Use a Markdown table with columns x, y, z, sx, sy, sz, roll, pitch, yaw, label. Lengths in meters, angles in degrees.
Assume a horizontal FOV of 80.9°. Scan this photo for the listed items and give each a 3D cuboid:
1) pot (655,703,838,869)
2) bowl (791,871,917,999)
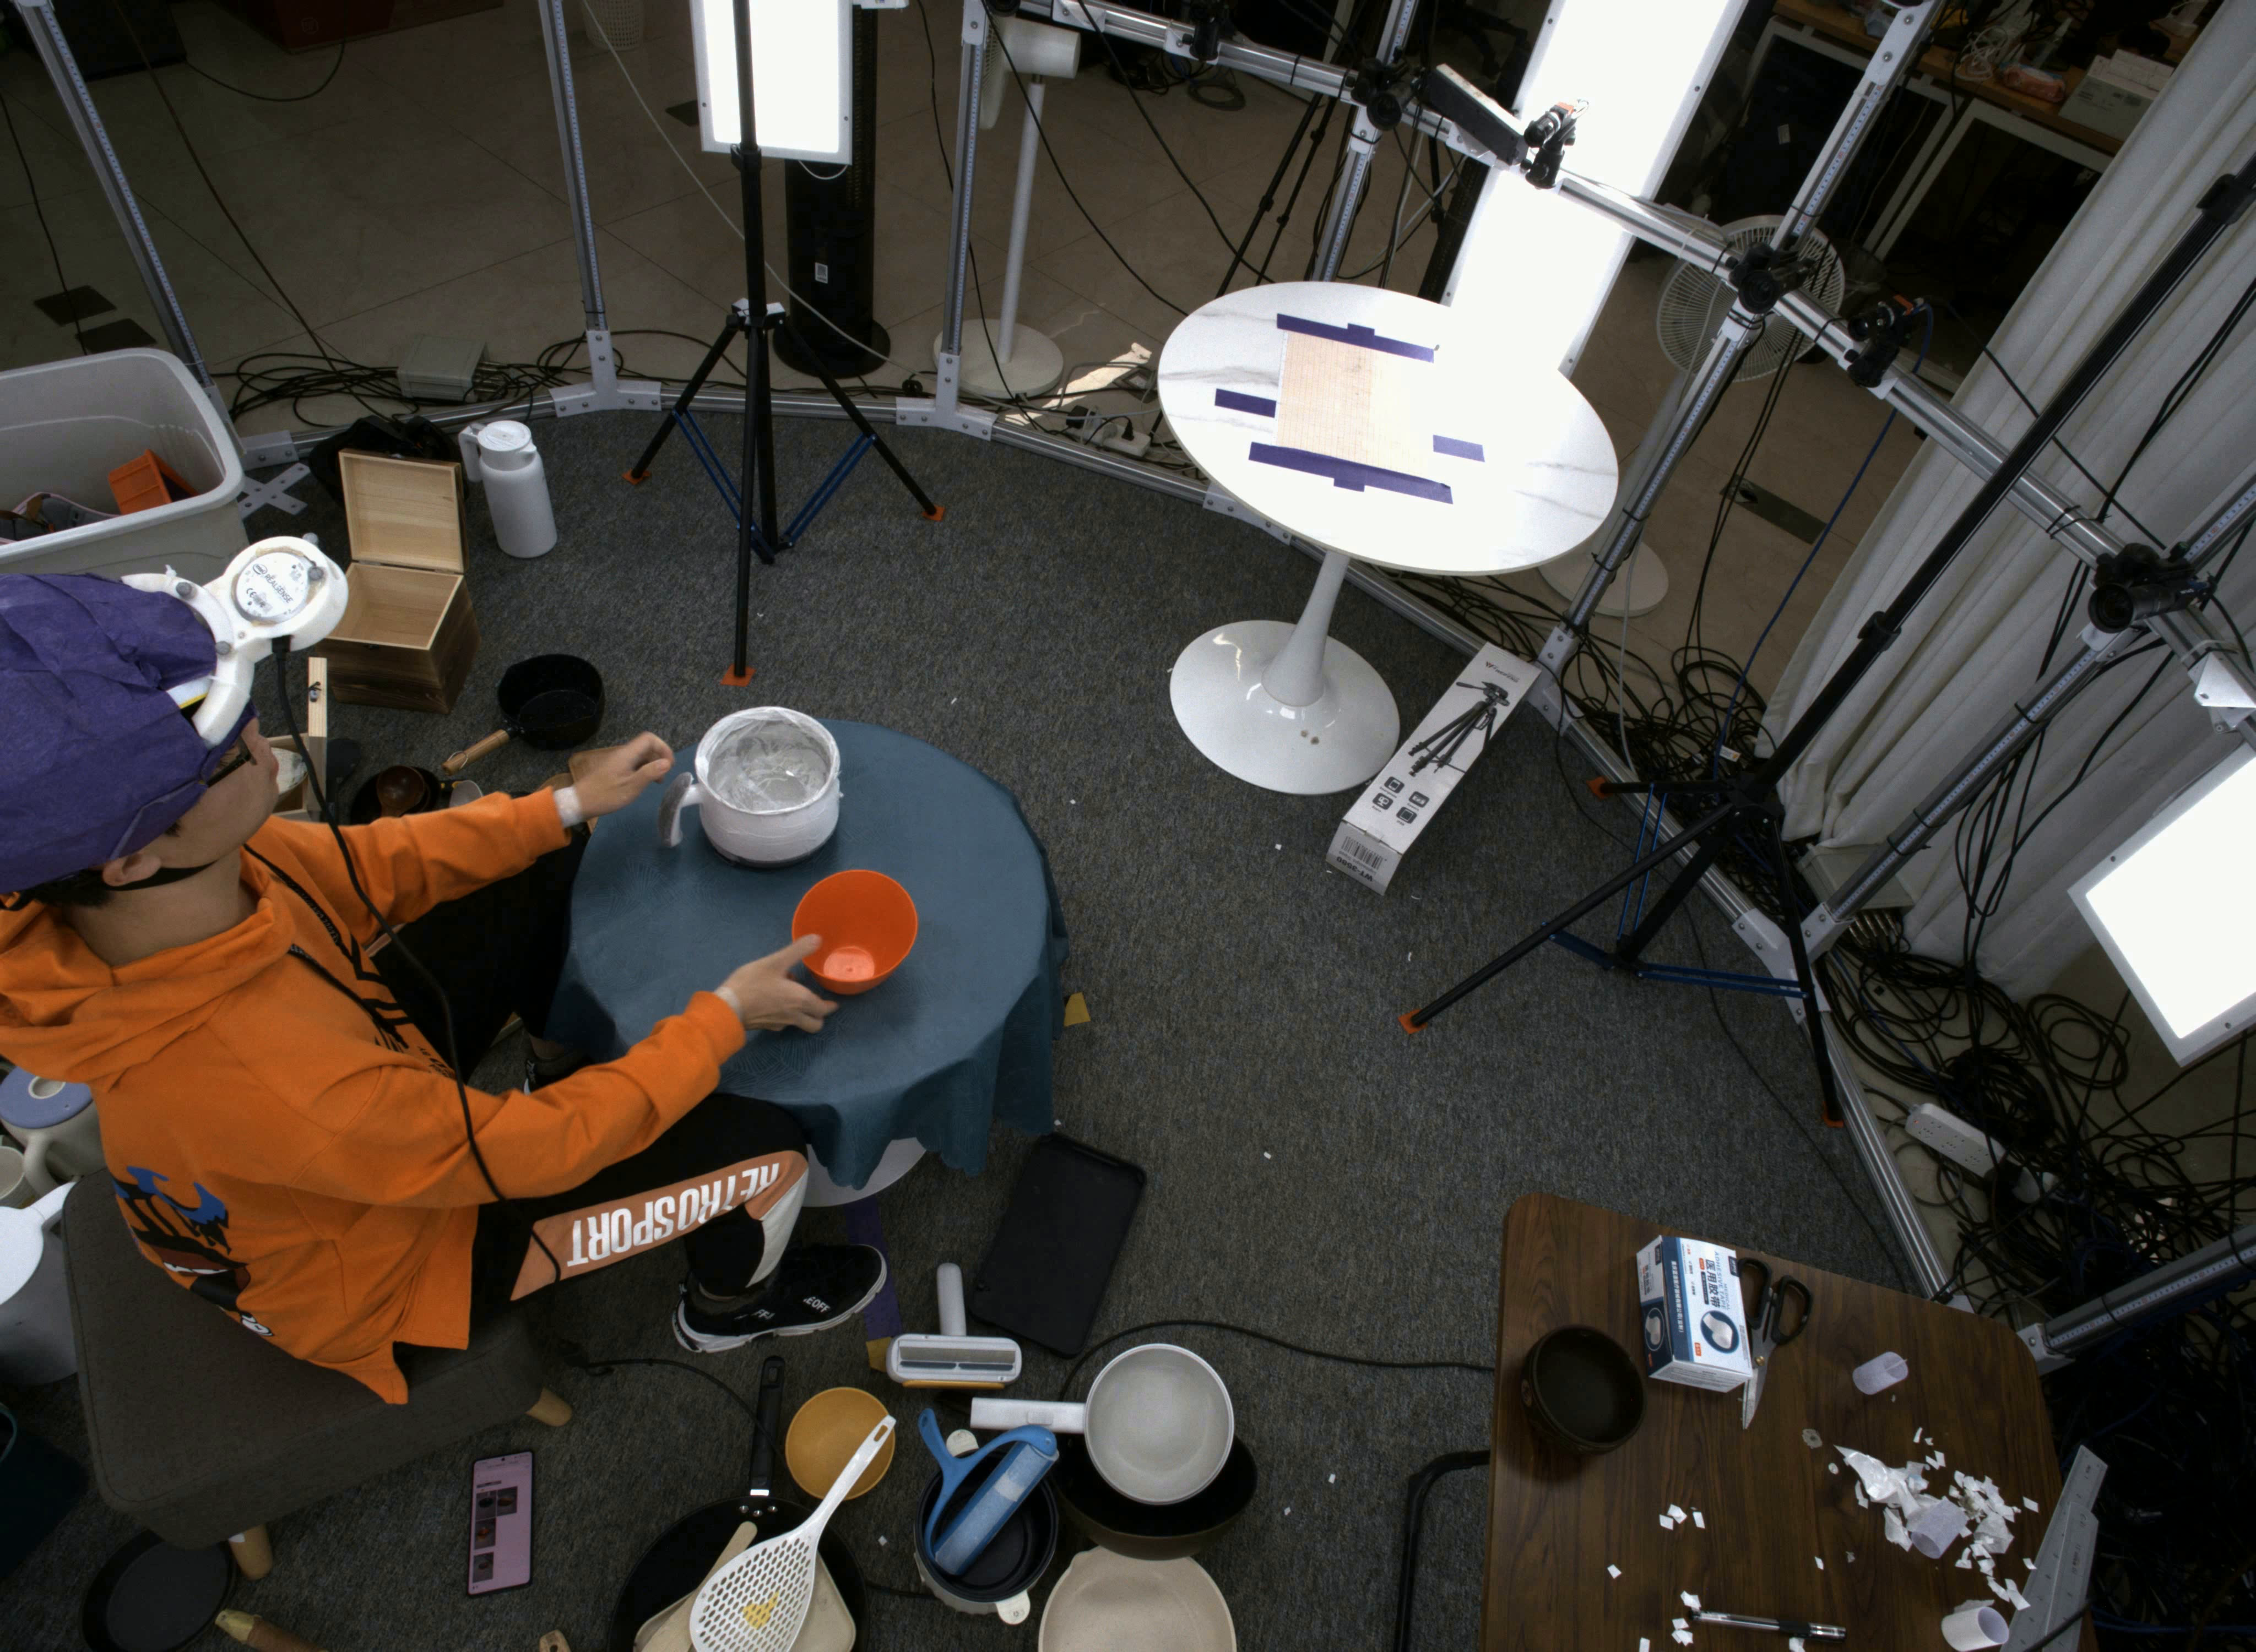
| x | y | z | sx | sy | sz | roll | pitch | yaw | label |
| --- | --- | --- | --- | --- | --- | --- | --- | --- | --- |
| -0.484 | -0.039 | 1.638 | 0.235 | 0.139 | 0.174 | -17 | 58 | -26 | pot |
| -0.330 | 0.143 | 1.570 | 0.147 | 0.107 | 0.145 | 7 | 53 | -7 | bowl |
